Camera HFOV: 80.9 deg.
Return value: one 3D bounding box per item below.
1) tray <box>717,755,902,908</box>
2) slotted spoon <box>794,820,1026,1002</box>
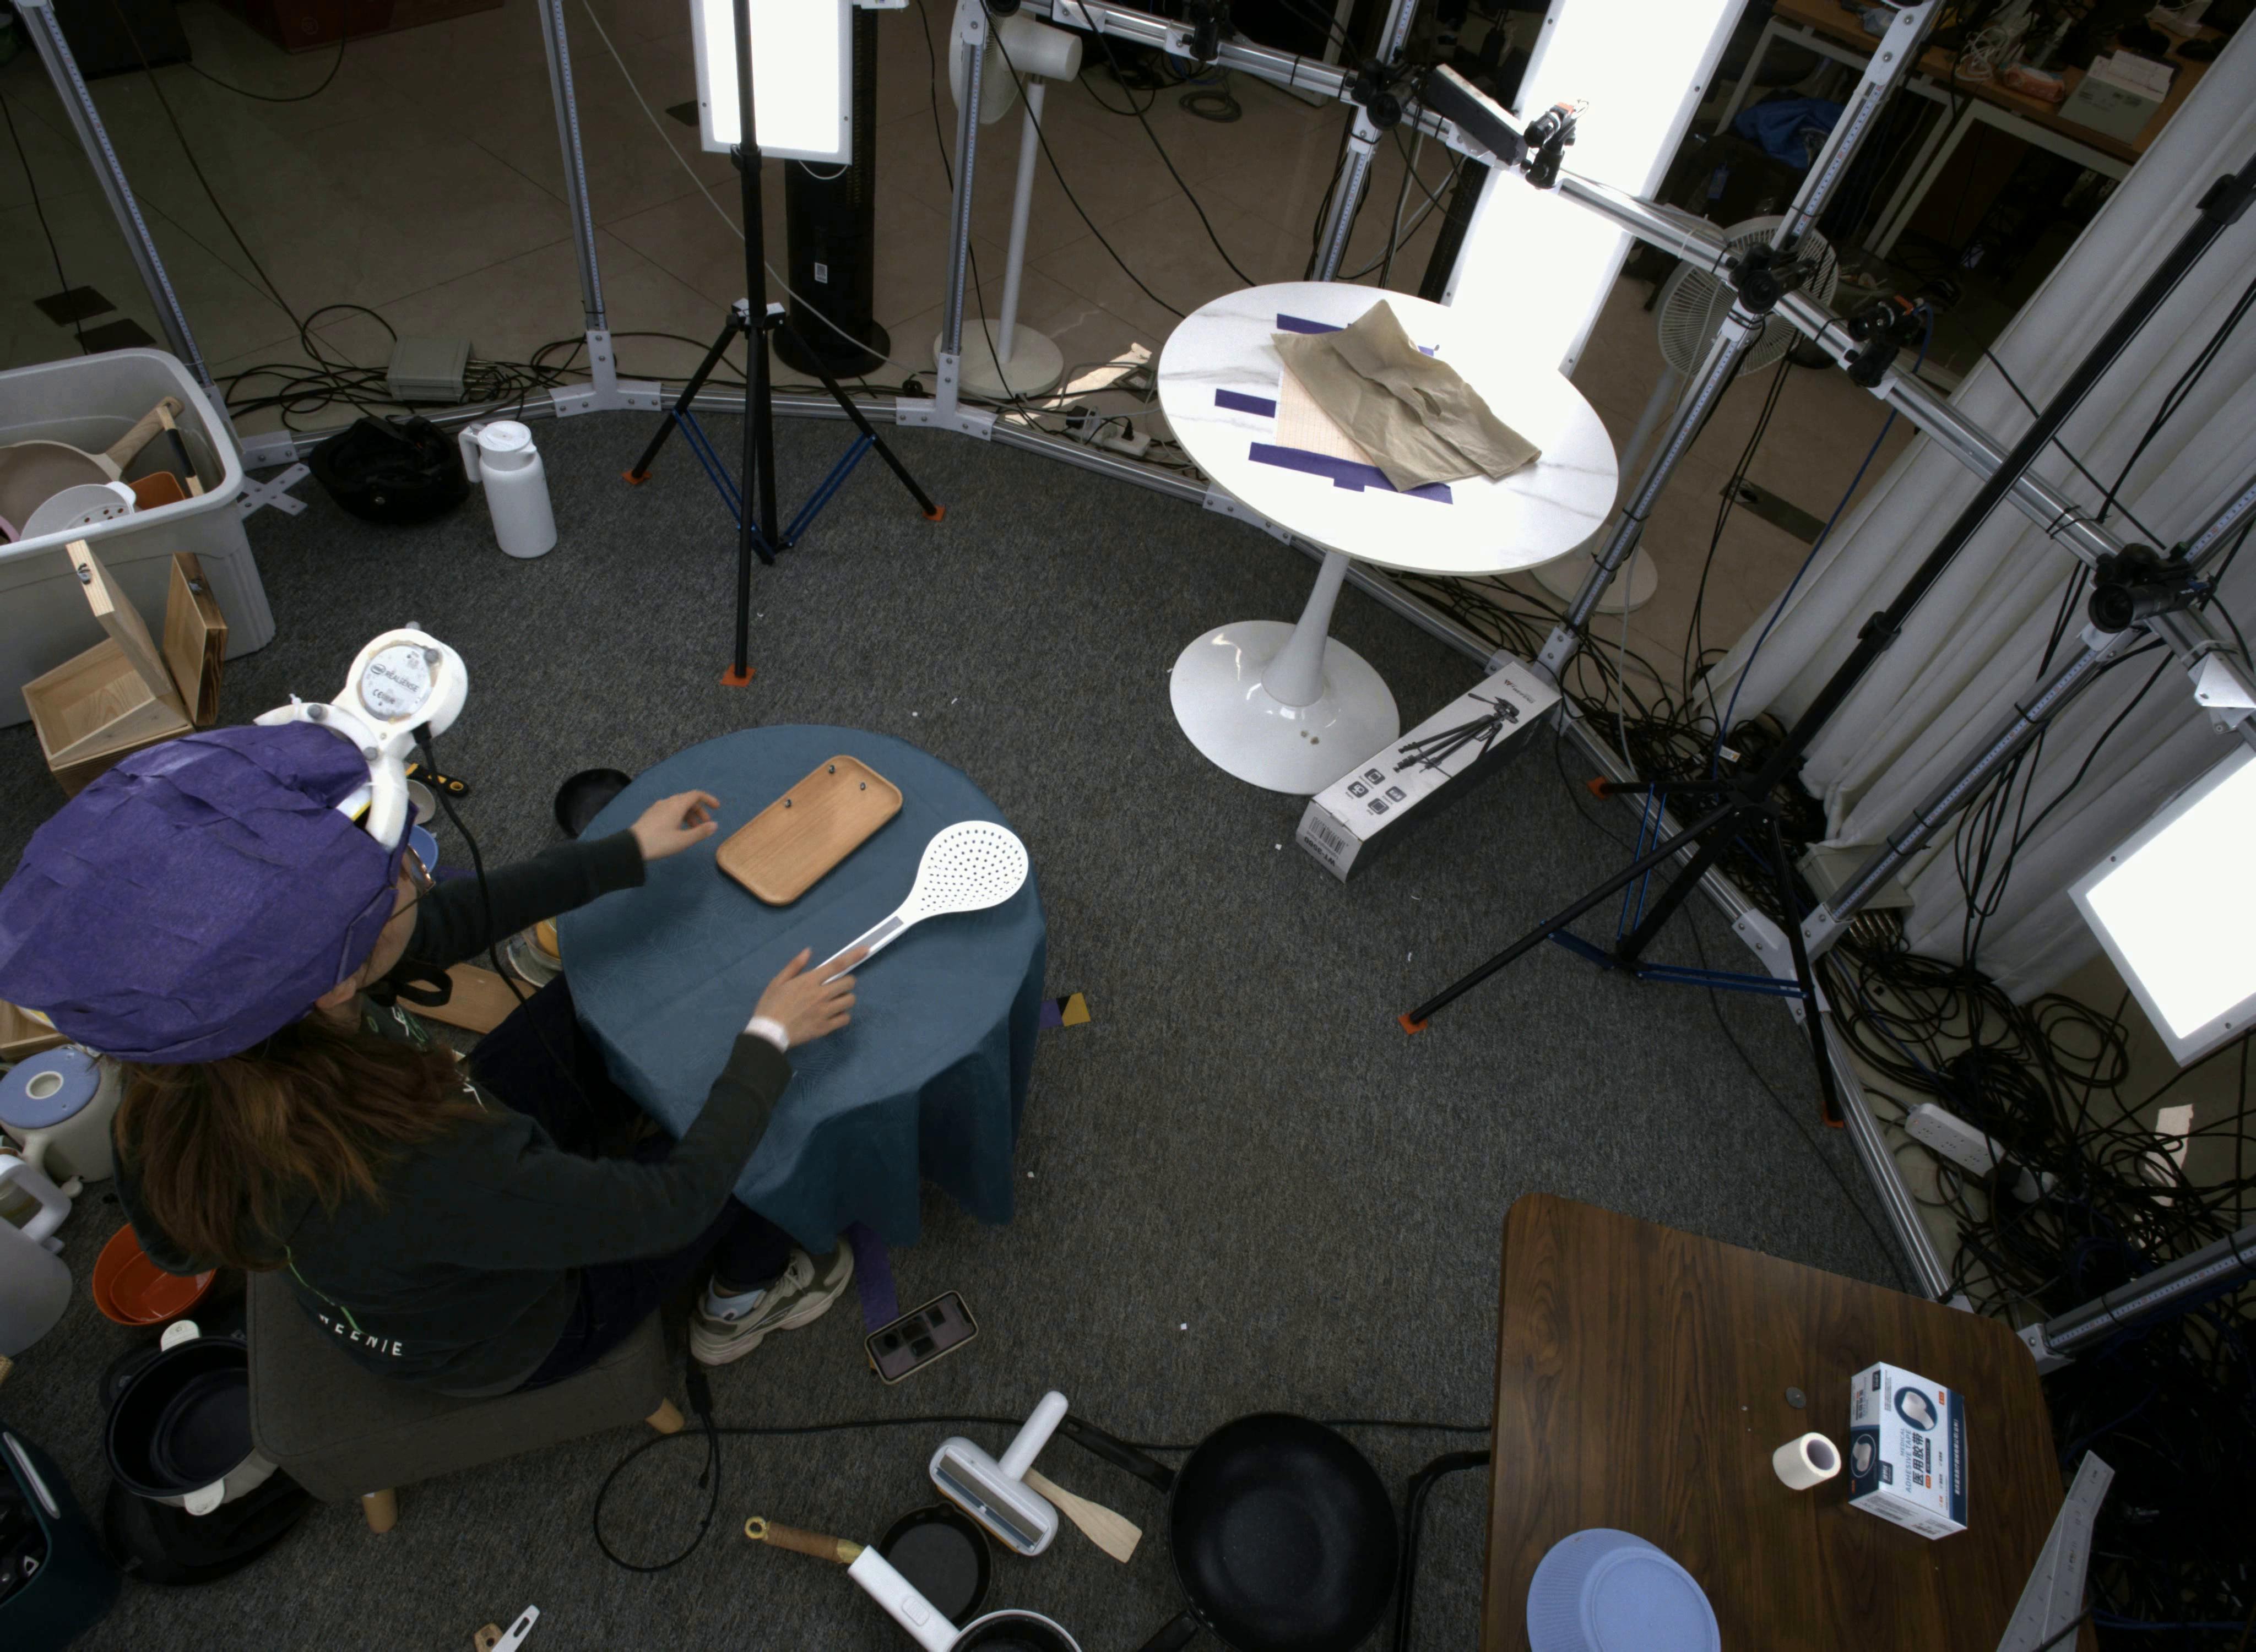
[{"bbox_3d":[-0.419,0.003,1.717,0.128,0.023,0.250,34,54,14],"label":"tray"},{"bbox_3d":[-0.277,0.109,1.657,0.132,0.047,0.350,41,56,21],"label":"slotted spoon"}]
